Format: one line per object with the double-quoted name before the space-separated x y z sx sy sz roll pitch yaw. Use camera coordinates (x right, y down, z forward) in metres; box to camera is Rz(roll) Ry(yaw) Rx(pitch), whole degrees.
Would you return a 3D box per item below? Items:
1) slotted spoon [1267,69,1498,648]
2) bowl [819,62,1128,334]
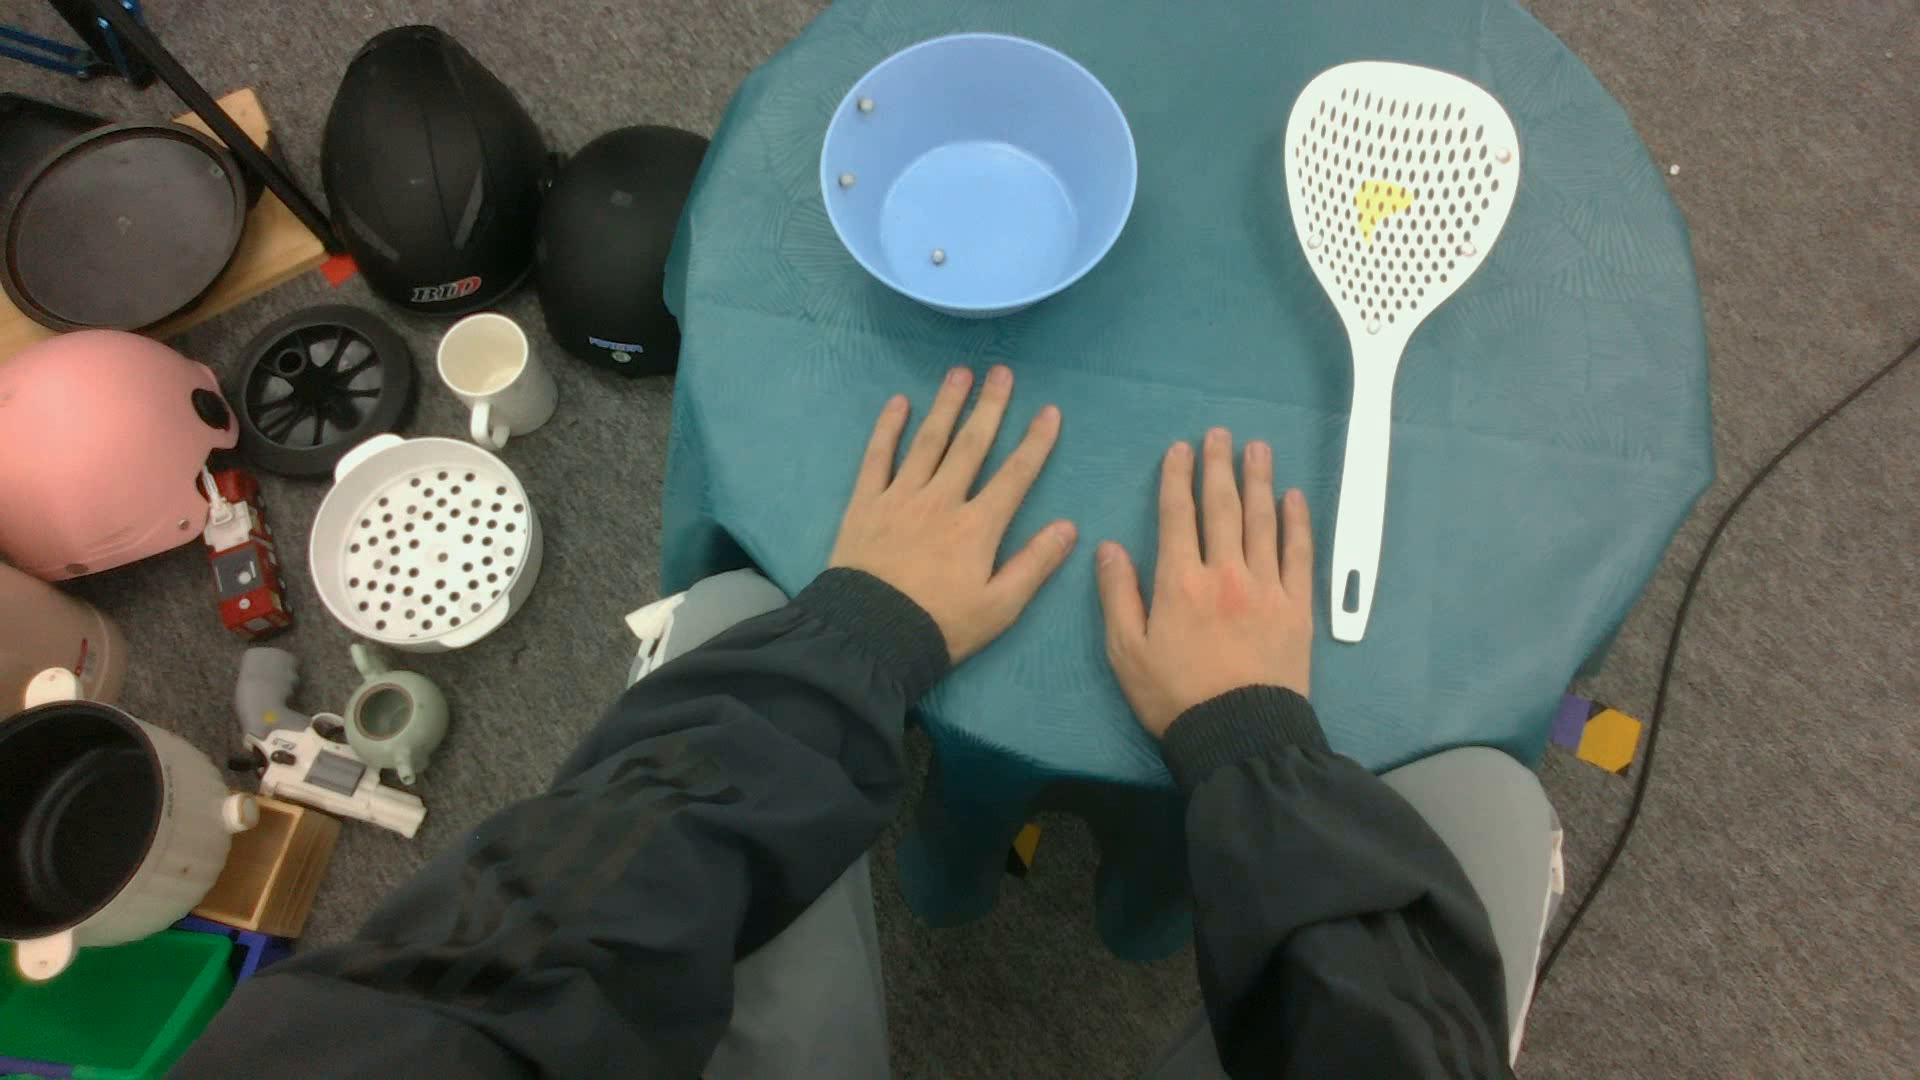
"slotted spoon" 0.233 -0.112 0.791 0.137 0.050 0.349 8 70 0
"bowl" 0.009 -0.188 0.808 0.176 0.070 0.176 -1 70 2
